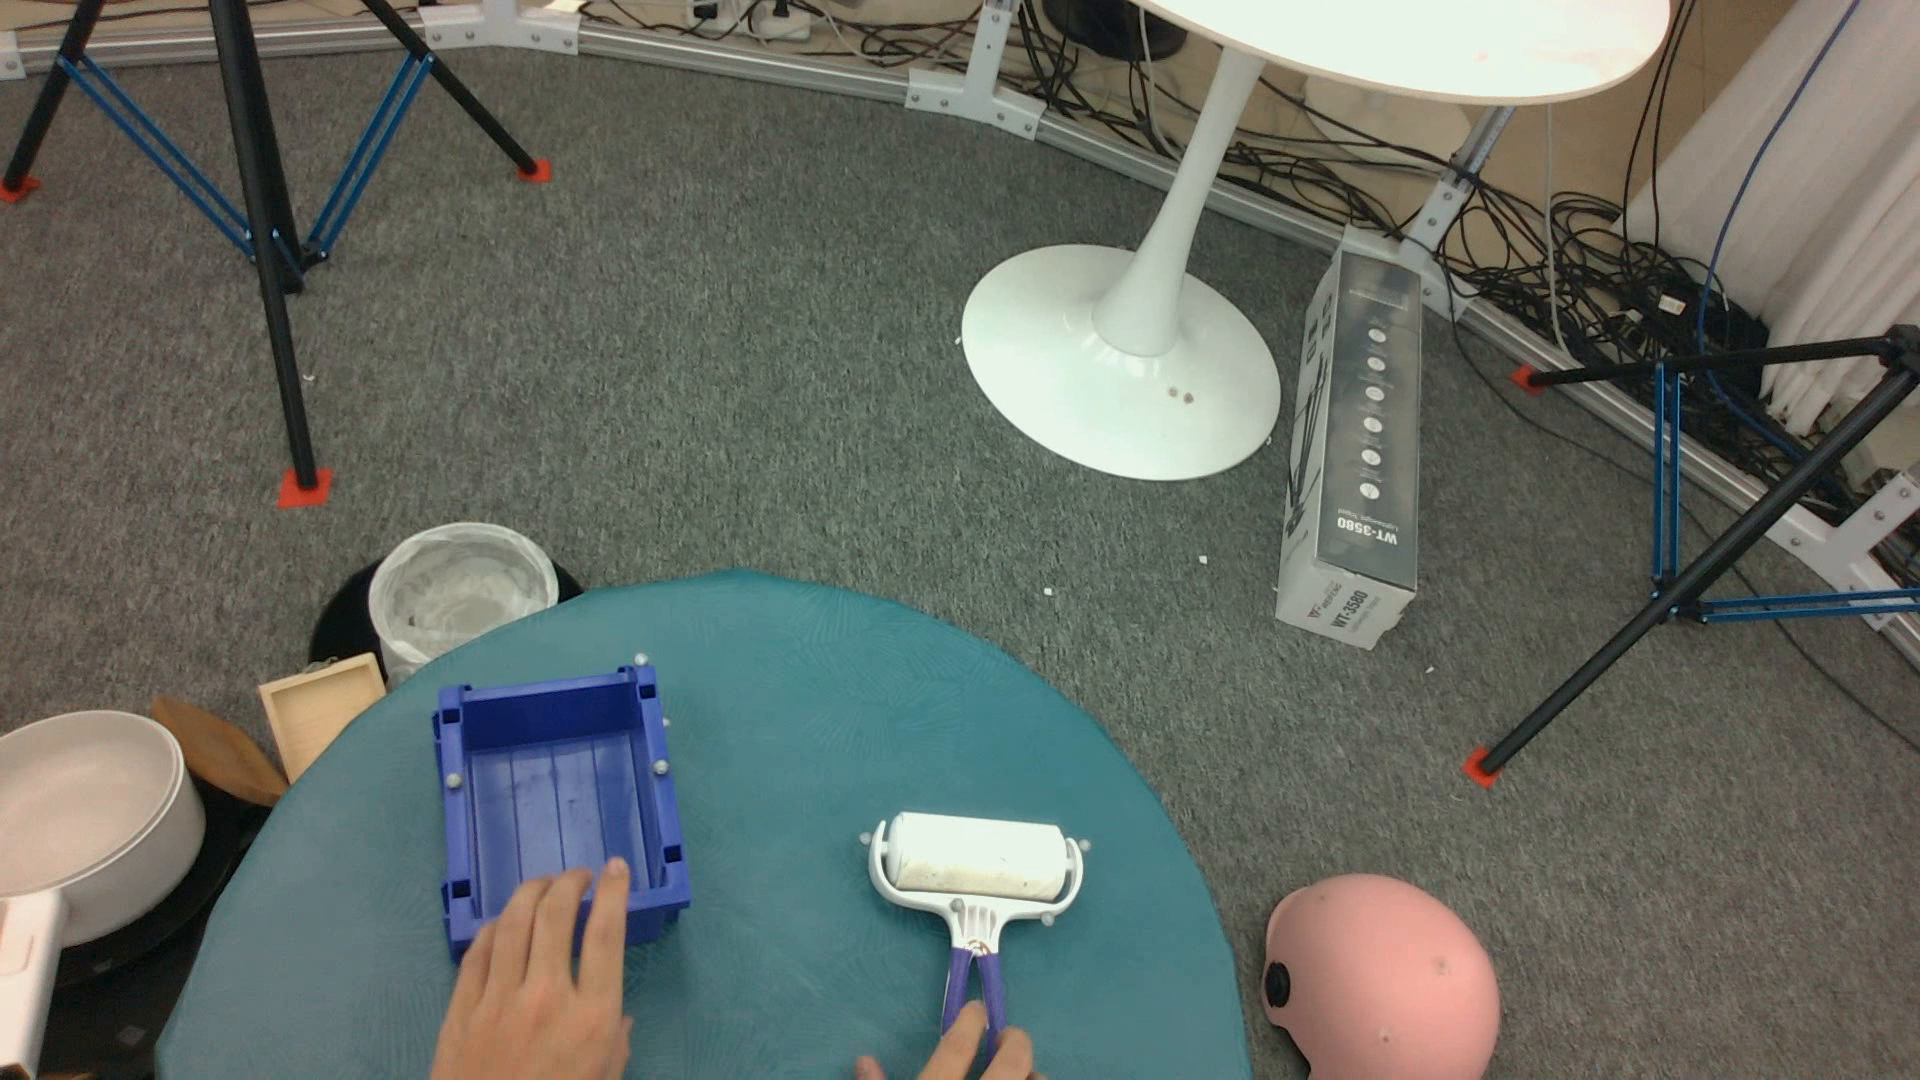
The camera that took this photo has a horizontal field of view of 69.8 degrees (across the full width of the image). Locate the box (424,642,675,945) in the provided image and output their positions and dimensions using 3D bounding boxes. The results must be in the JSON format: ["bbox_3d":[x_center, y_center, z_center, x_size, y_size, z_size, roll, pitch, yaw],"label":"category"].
[{"bbox_3d":[-0.241,0.138,0.797,0.125,0.081,0.180,-5,57,-19],"label":"box"}]

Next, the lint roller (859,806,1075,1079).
[{"bbox_3d":[0.004,0.242,0.806,0.133,0.050,0.181,9,49,-10],"label":"lint roller"}]
